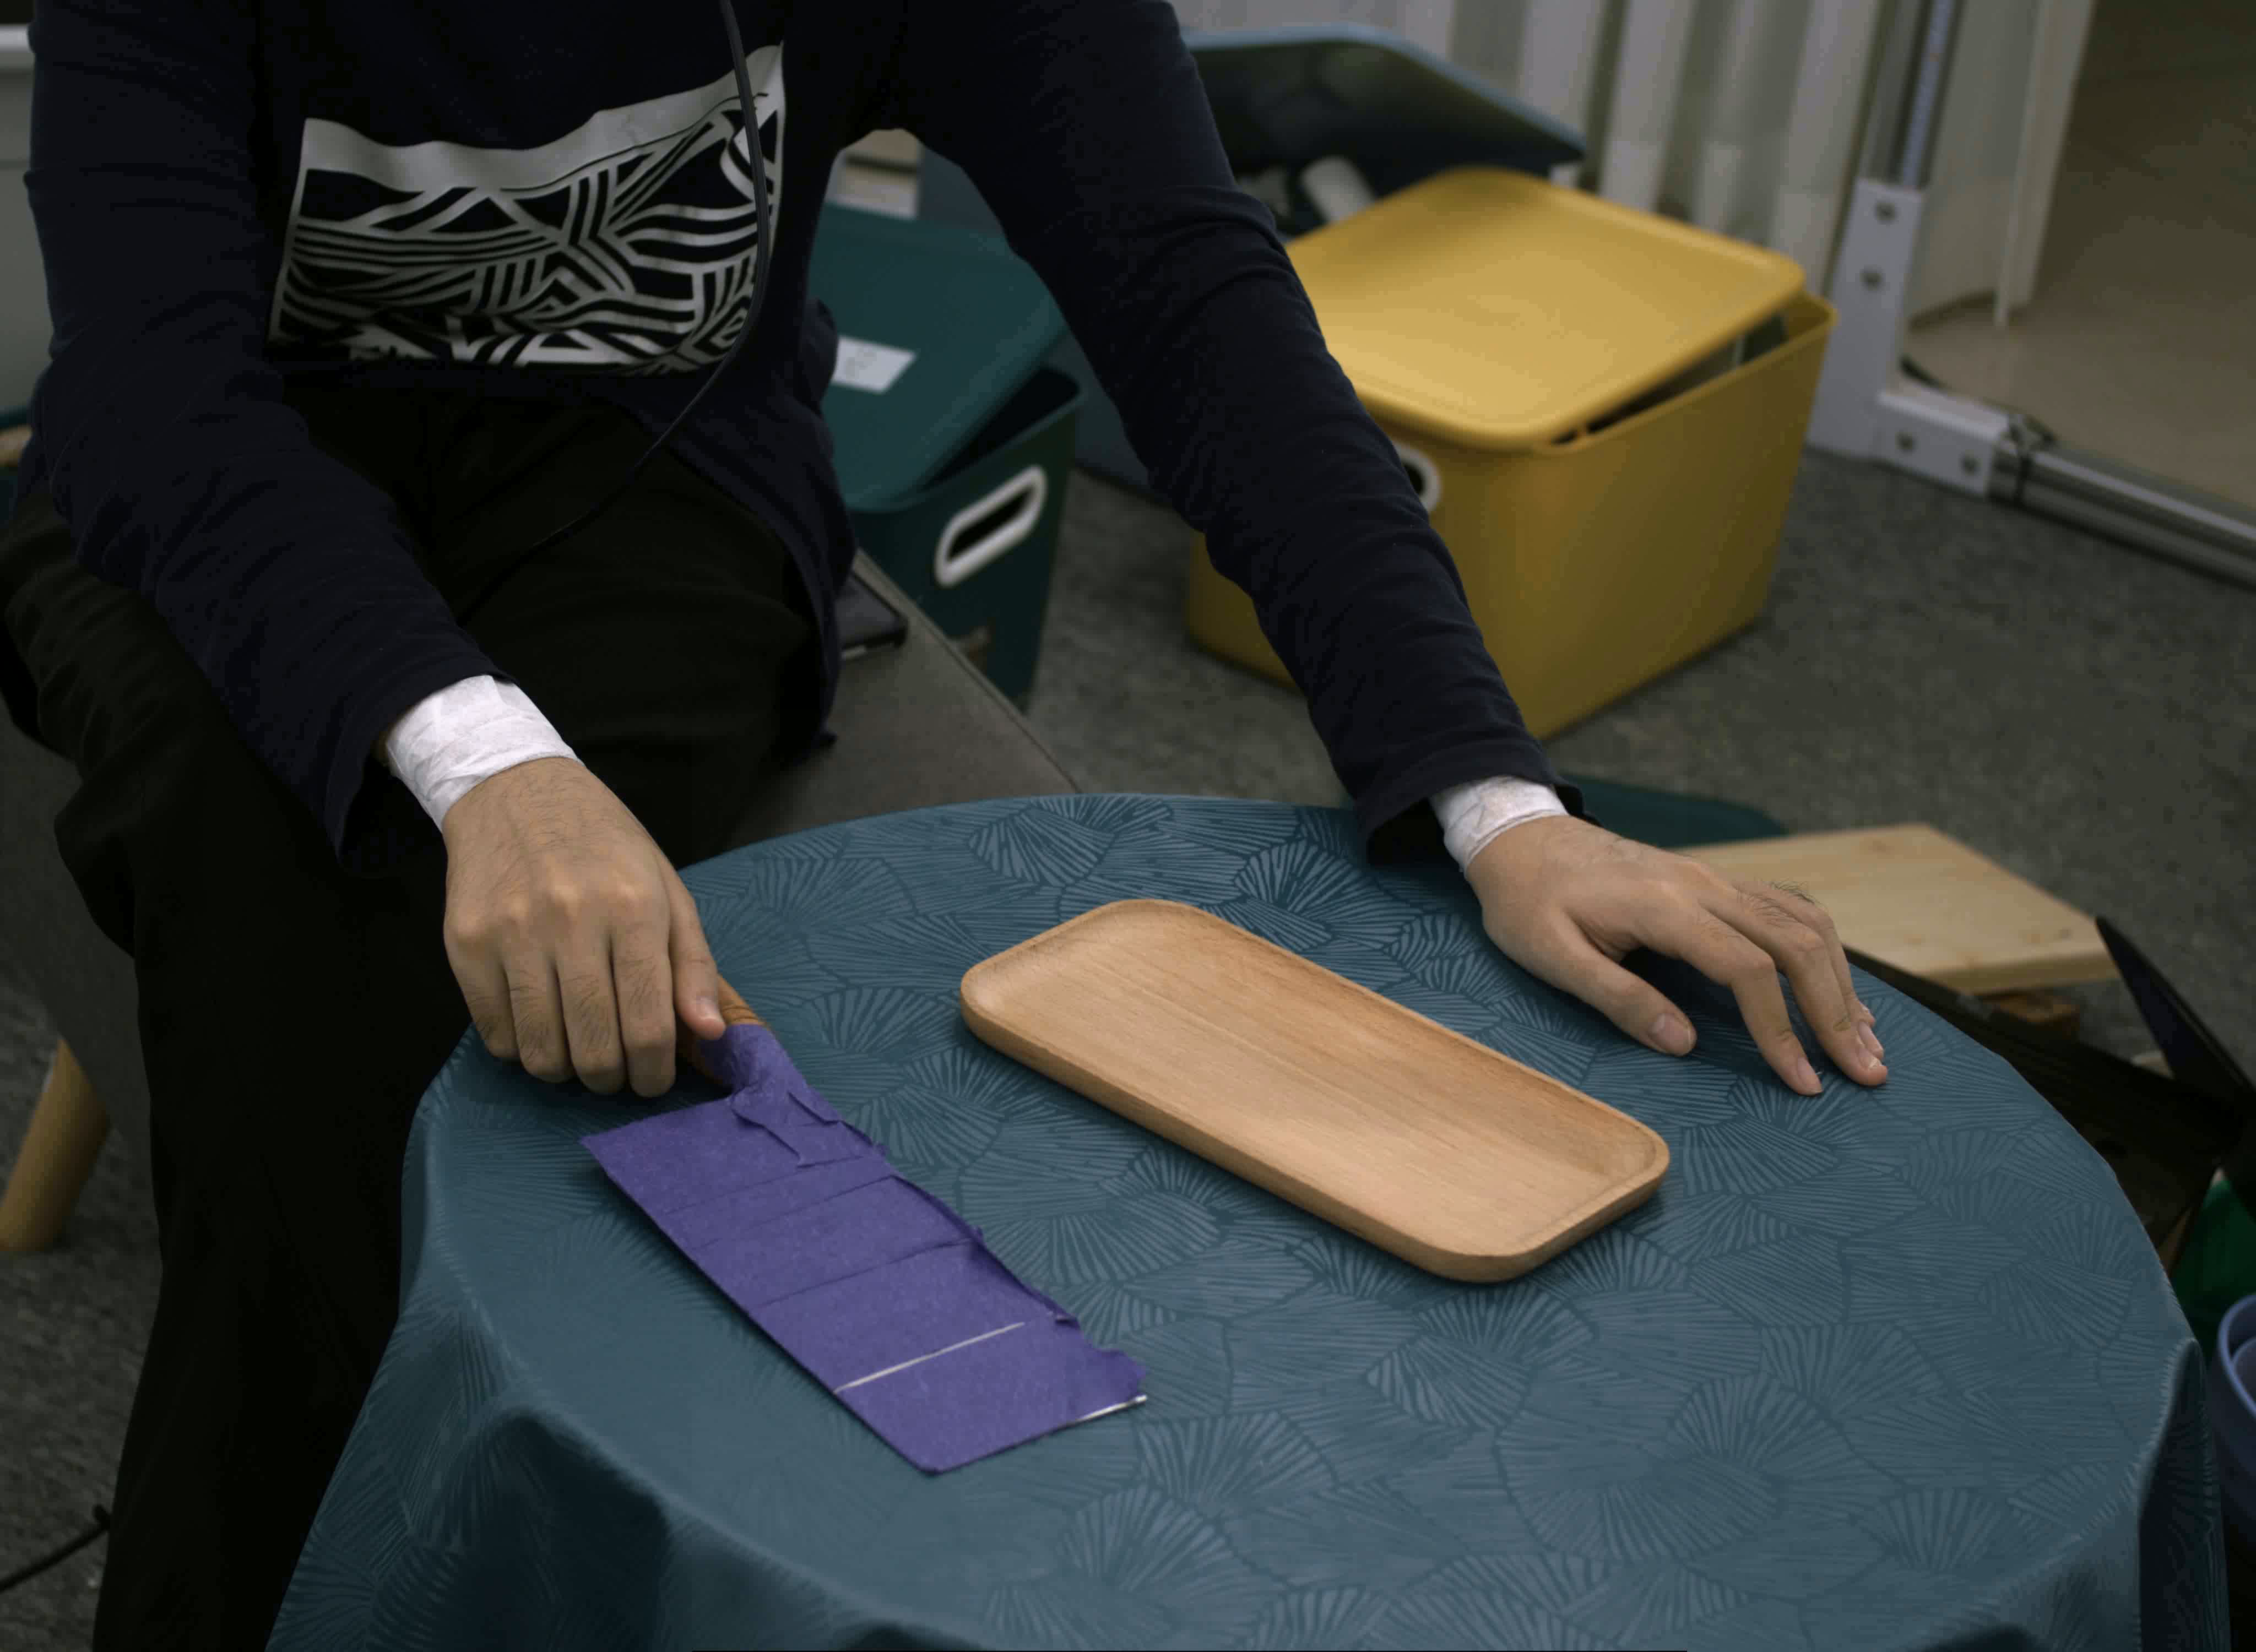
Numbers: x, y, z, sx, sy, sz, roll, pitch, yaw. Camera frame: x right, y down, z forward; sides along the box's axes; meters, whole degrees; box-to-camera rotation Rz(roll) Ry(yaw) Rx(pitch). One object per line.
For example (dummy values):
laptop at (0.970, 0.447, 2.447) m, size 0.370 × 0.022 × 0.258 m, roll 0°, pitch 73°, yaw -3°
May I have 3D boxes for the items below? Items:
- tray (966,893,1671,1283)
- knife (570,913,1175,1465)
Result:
tray at (0.064, 0.090, 1.870) m, size 0.252 × 0.023 × 0.130 m, roll 26°, pitch 31°, yaw 36°
knife at (-0.116, 0.116, 1.765) m, size 0.103 × 0.032 × 0.318 m, roll -14°, pitch 33°, yaw -35°
